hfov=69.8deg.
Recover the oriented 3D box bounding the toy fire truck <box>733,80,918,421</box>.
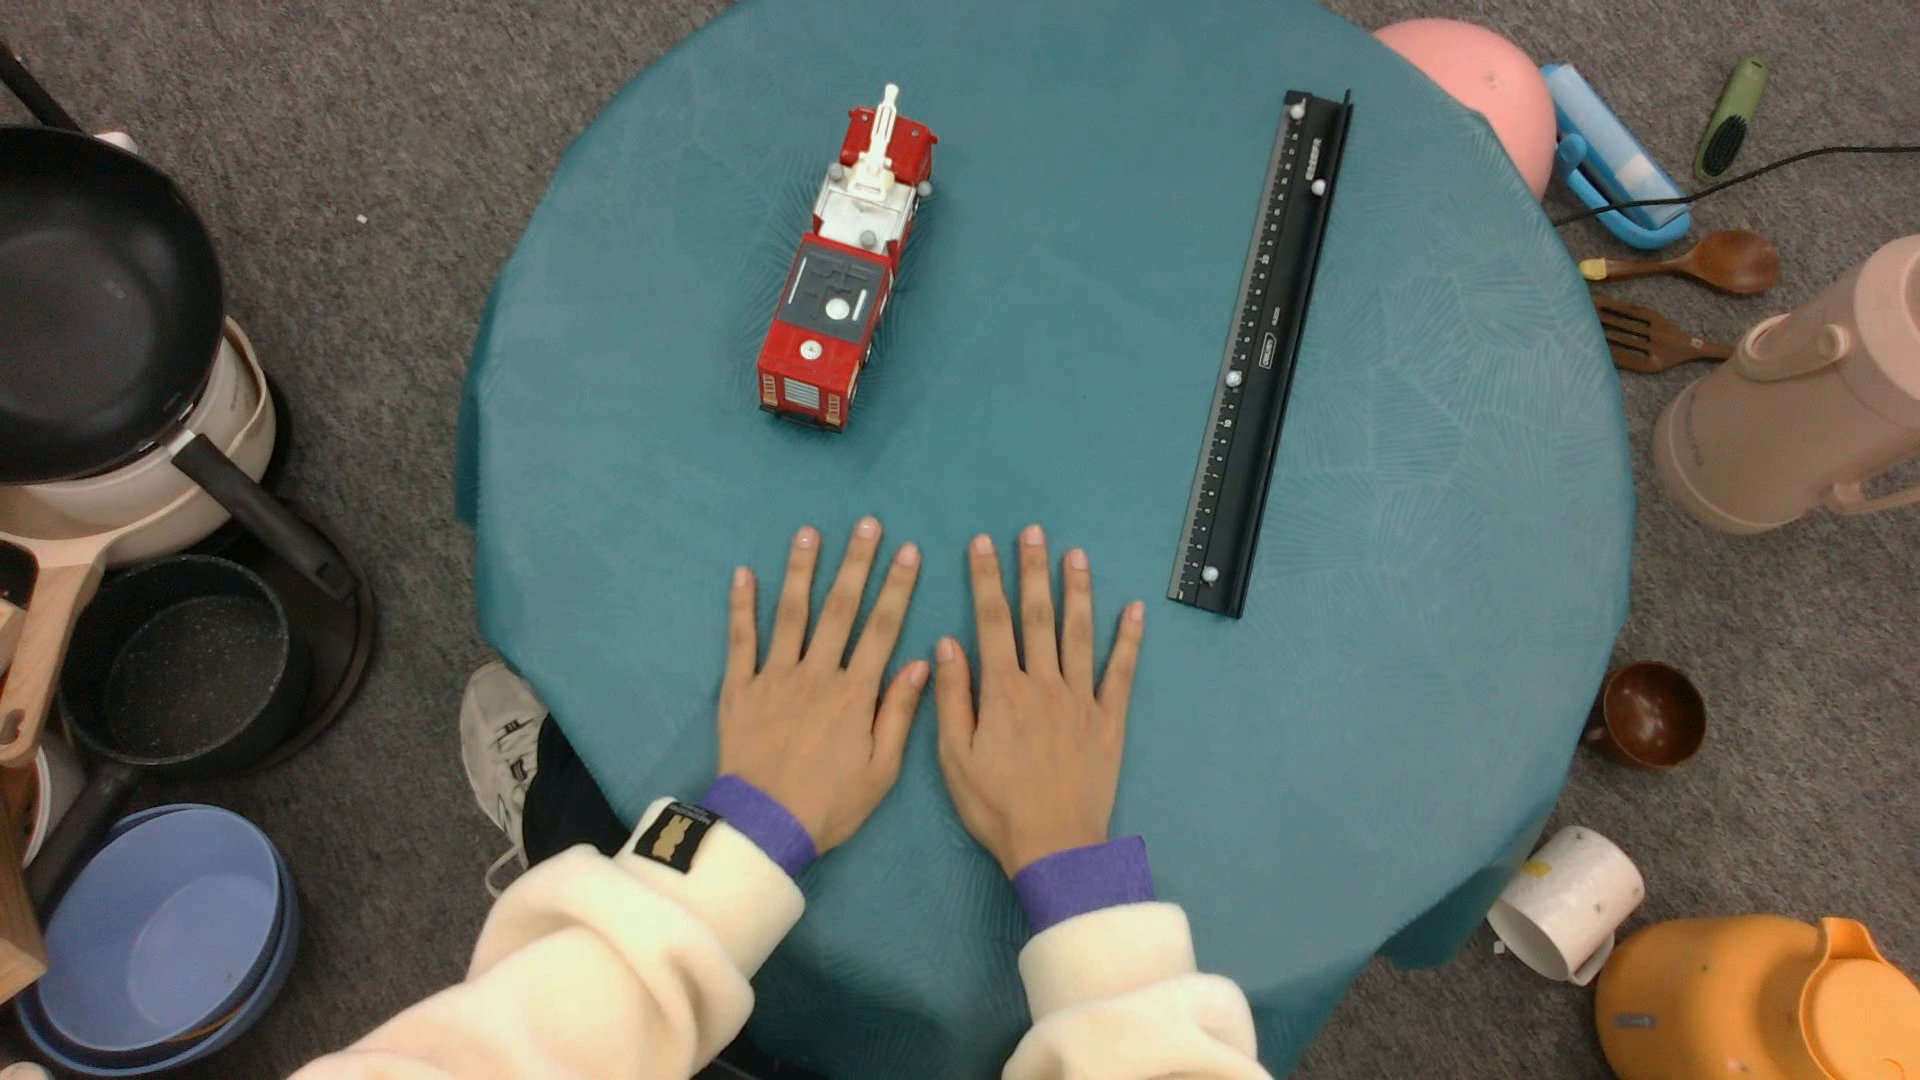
[{"bbox_3d":[-0.067,-0.145,0.695,0.054,0.070,0.168,17,72,-1],"label":"toy fire truck"}]

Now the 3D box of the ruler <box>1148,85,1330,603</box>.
[{"bbox_3d":[0.153,-0.117,0.733,0.039,0.017,0.313,15,71,3],"label":"ruler"}]
